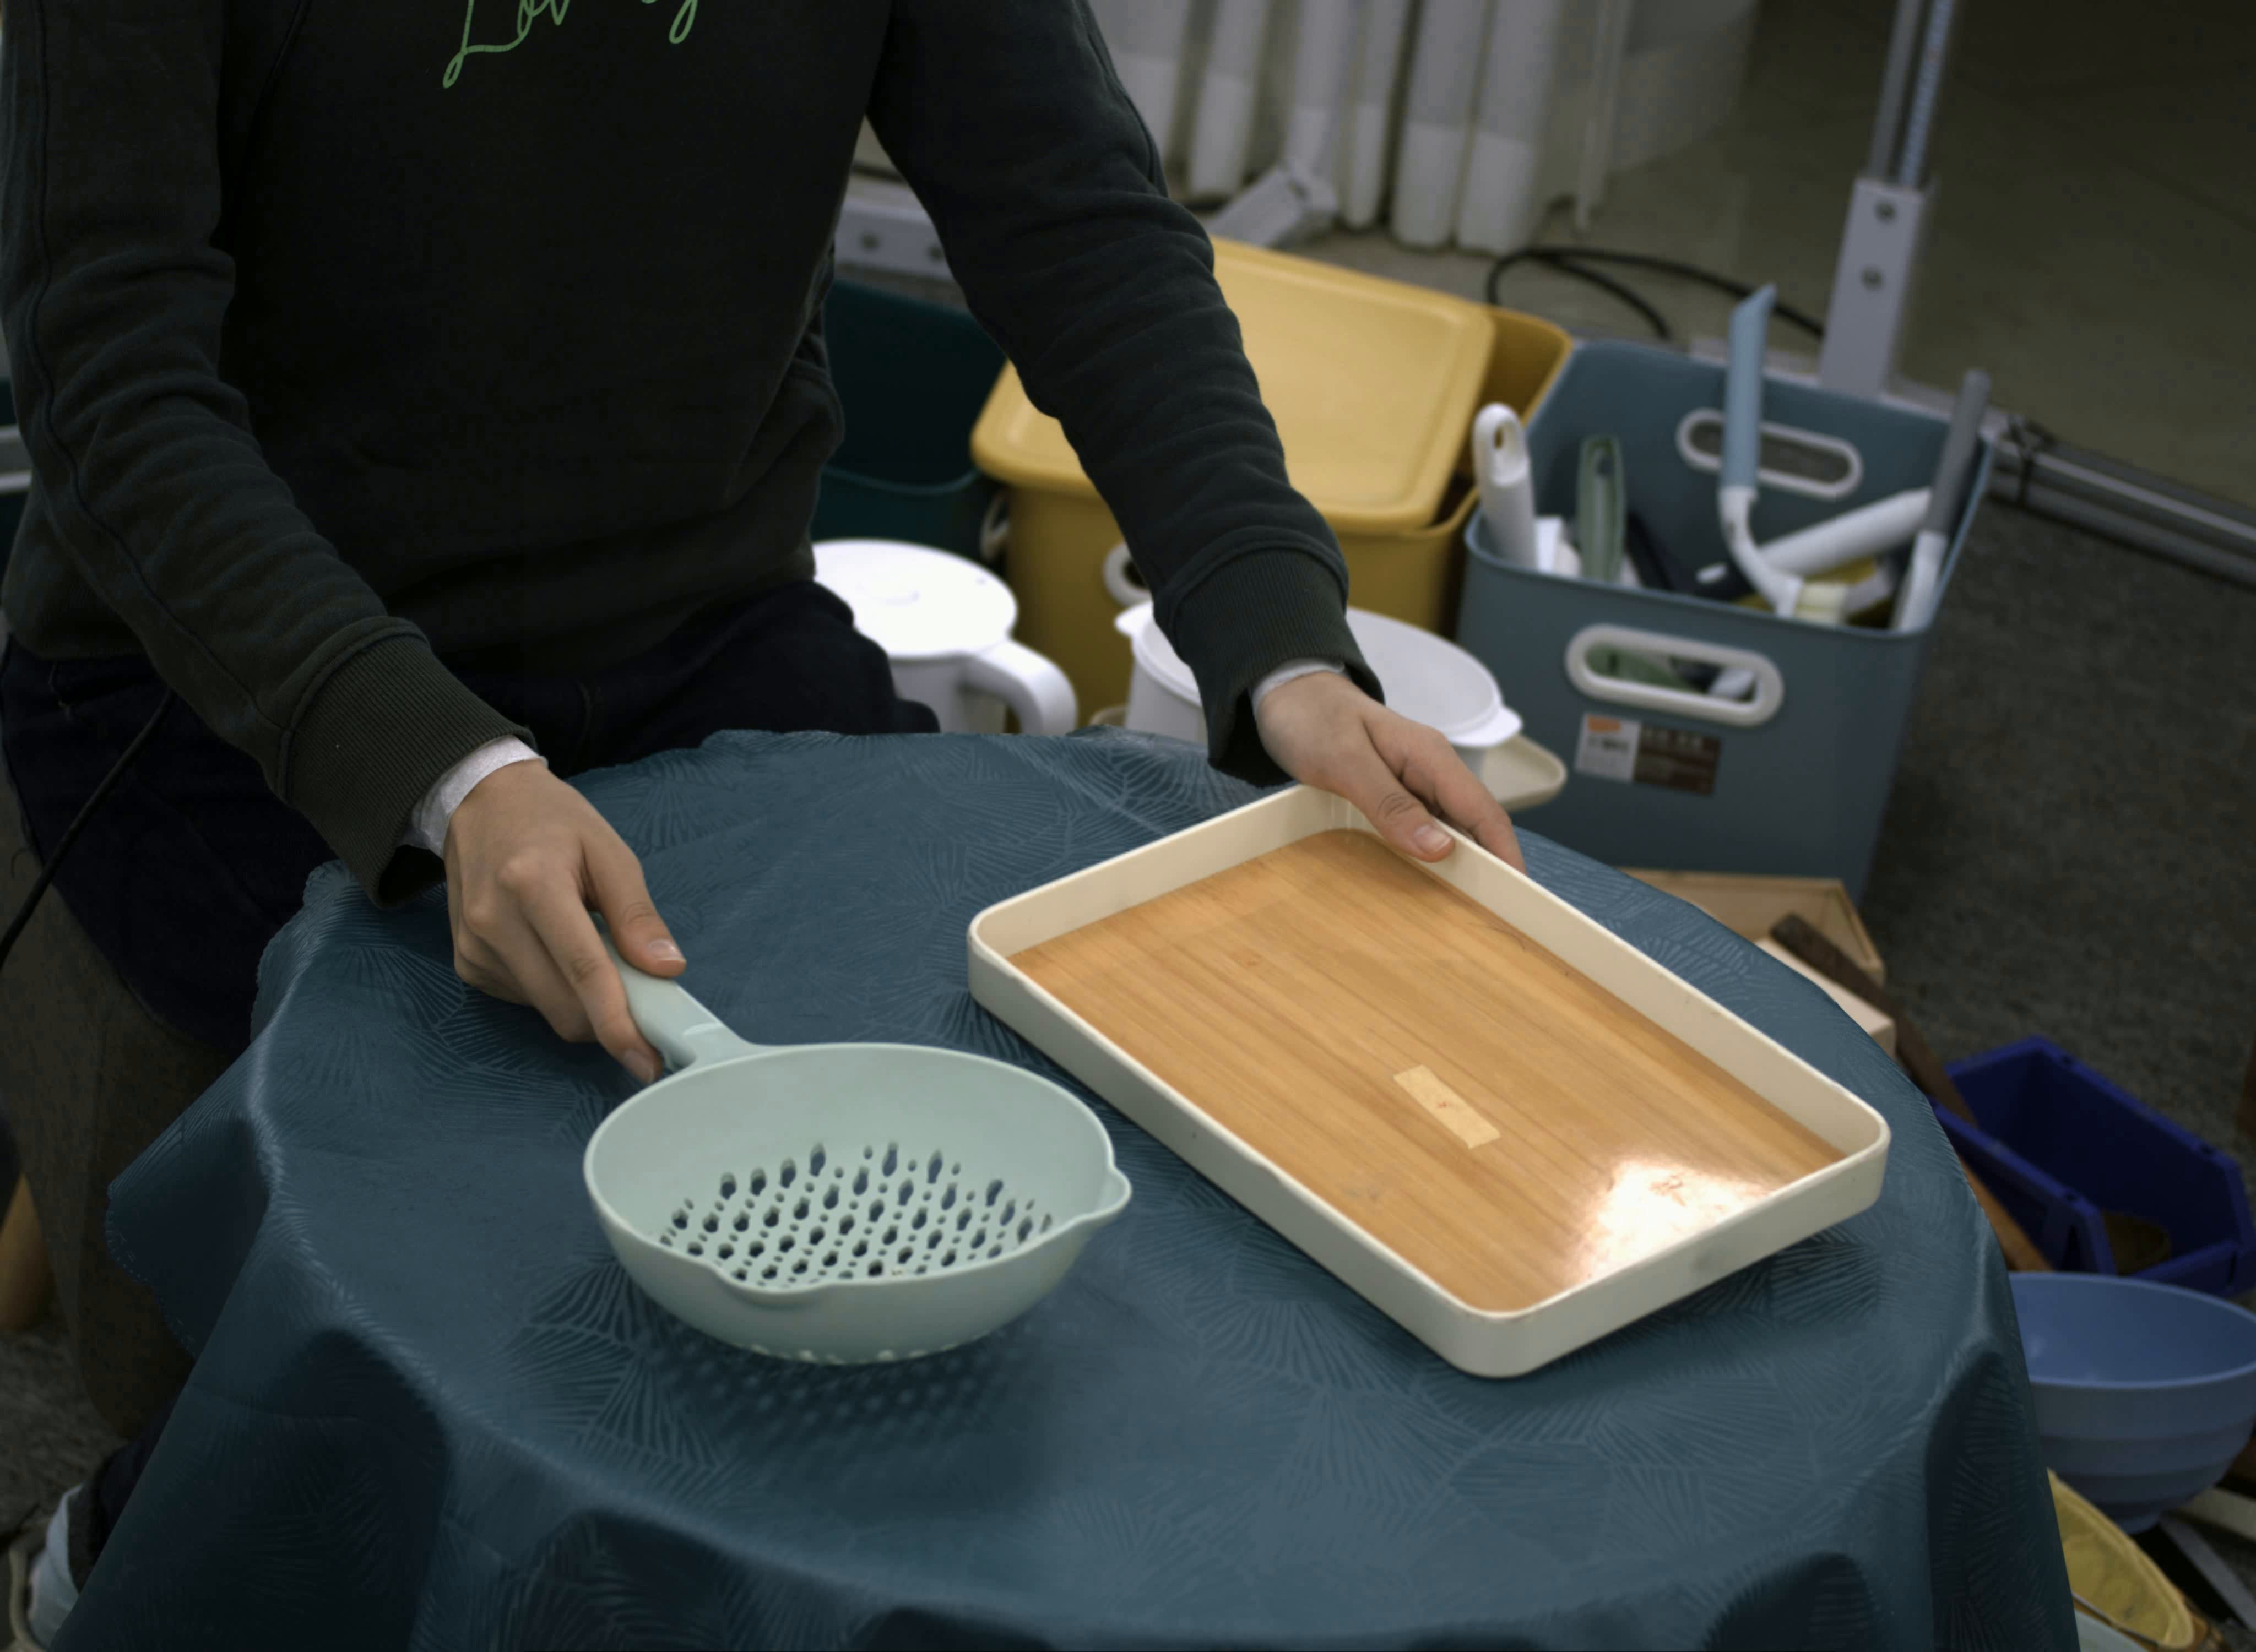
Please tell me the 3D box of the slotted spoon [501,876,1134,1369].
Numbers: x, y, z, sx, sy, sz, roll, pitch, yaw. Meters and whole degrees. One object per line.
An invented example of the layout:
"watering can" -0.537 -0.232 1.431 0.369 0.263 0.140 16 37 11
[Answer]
"slotted spoon" -0.135 0.082 1.772 0.168 0.075 0.362 -12 34 -26

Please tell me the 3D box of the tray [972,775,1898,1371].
"tray" 0.102 0.080 1.852 0.190 0.027 0.303 -20 37 -31
